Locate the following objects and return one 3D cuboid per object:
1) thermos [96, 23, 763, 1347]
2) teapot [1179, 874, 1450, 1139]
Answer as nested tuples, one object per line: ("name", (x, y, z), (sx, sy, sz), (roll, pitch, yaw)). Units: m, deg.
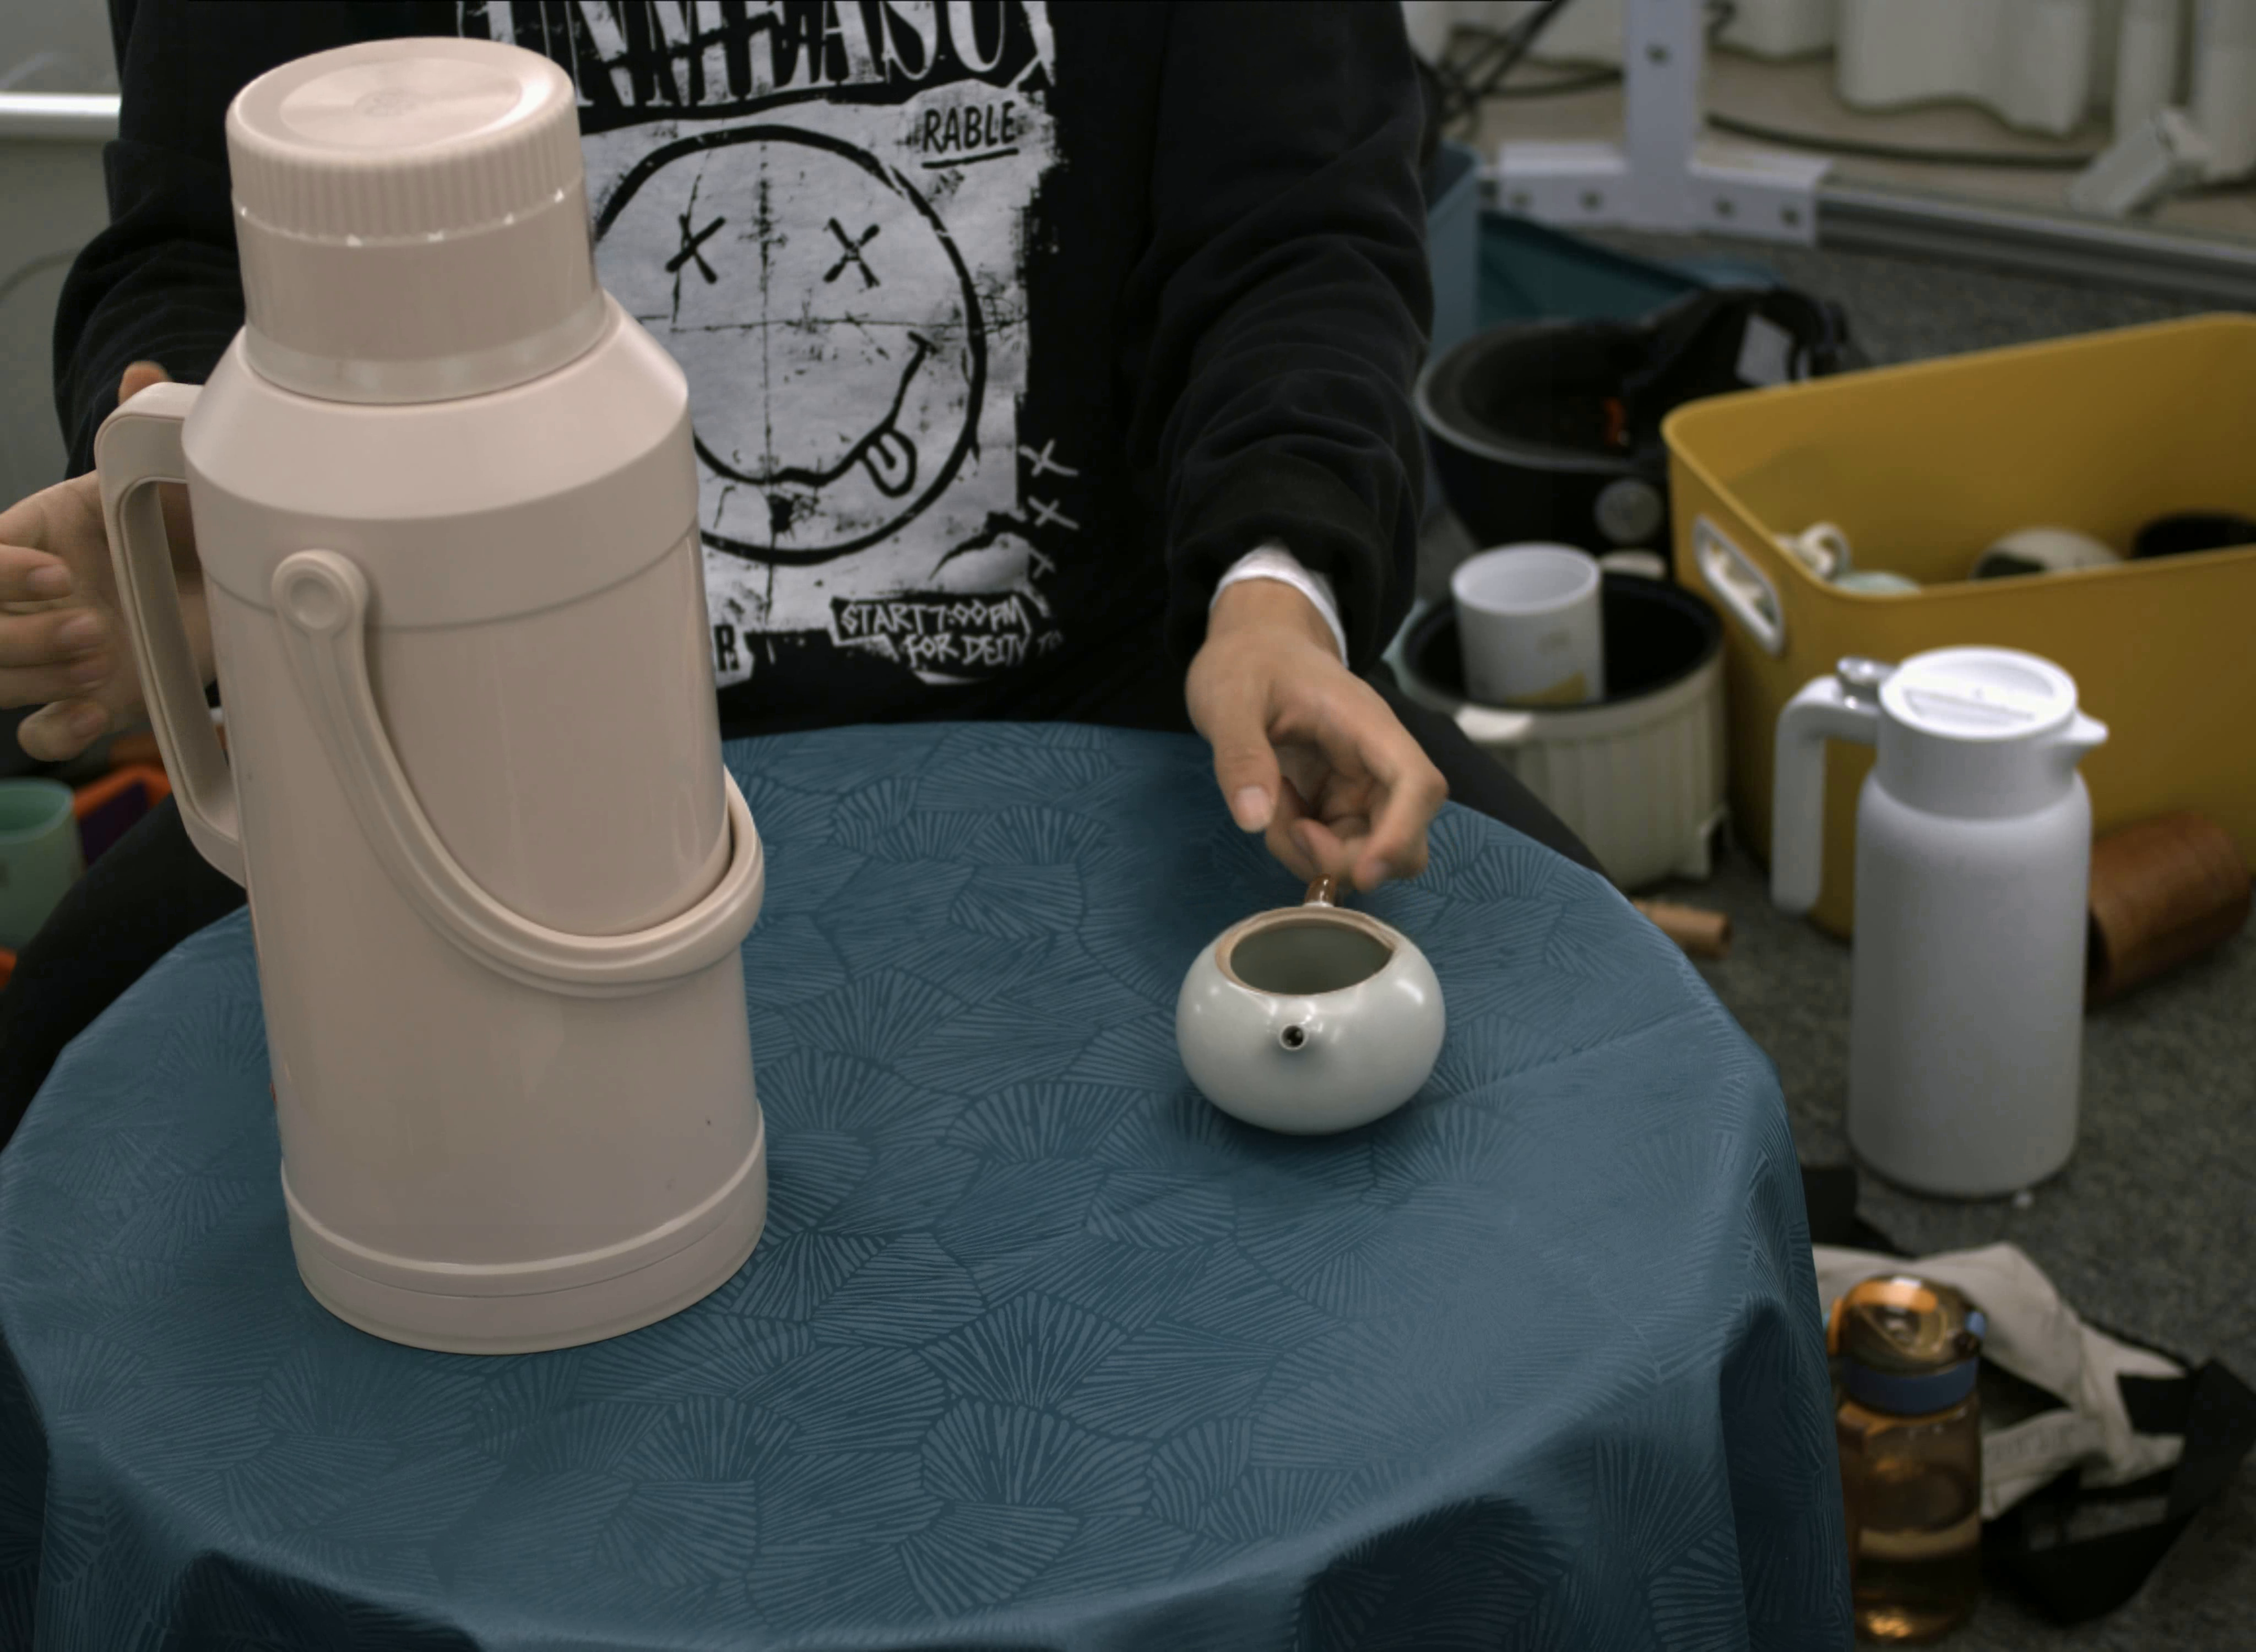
("thermos", (-0.221, -0.046, 1.779), (0.205, 0.402, 0.178), (7, 29, 18))
("teapot", (0.063, 0.062, 1.904), (0.091, 0.059, 0.130), (-4, 27, 7))
